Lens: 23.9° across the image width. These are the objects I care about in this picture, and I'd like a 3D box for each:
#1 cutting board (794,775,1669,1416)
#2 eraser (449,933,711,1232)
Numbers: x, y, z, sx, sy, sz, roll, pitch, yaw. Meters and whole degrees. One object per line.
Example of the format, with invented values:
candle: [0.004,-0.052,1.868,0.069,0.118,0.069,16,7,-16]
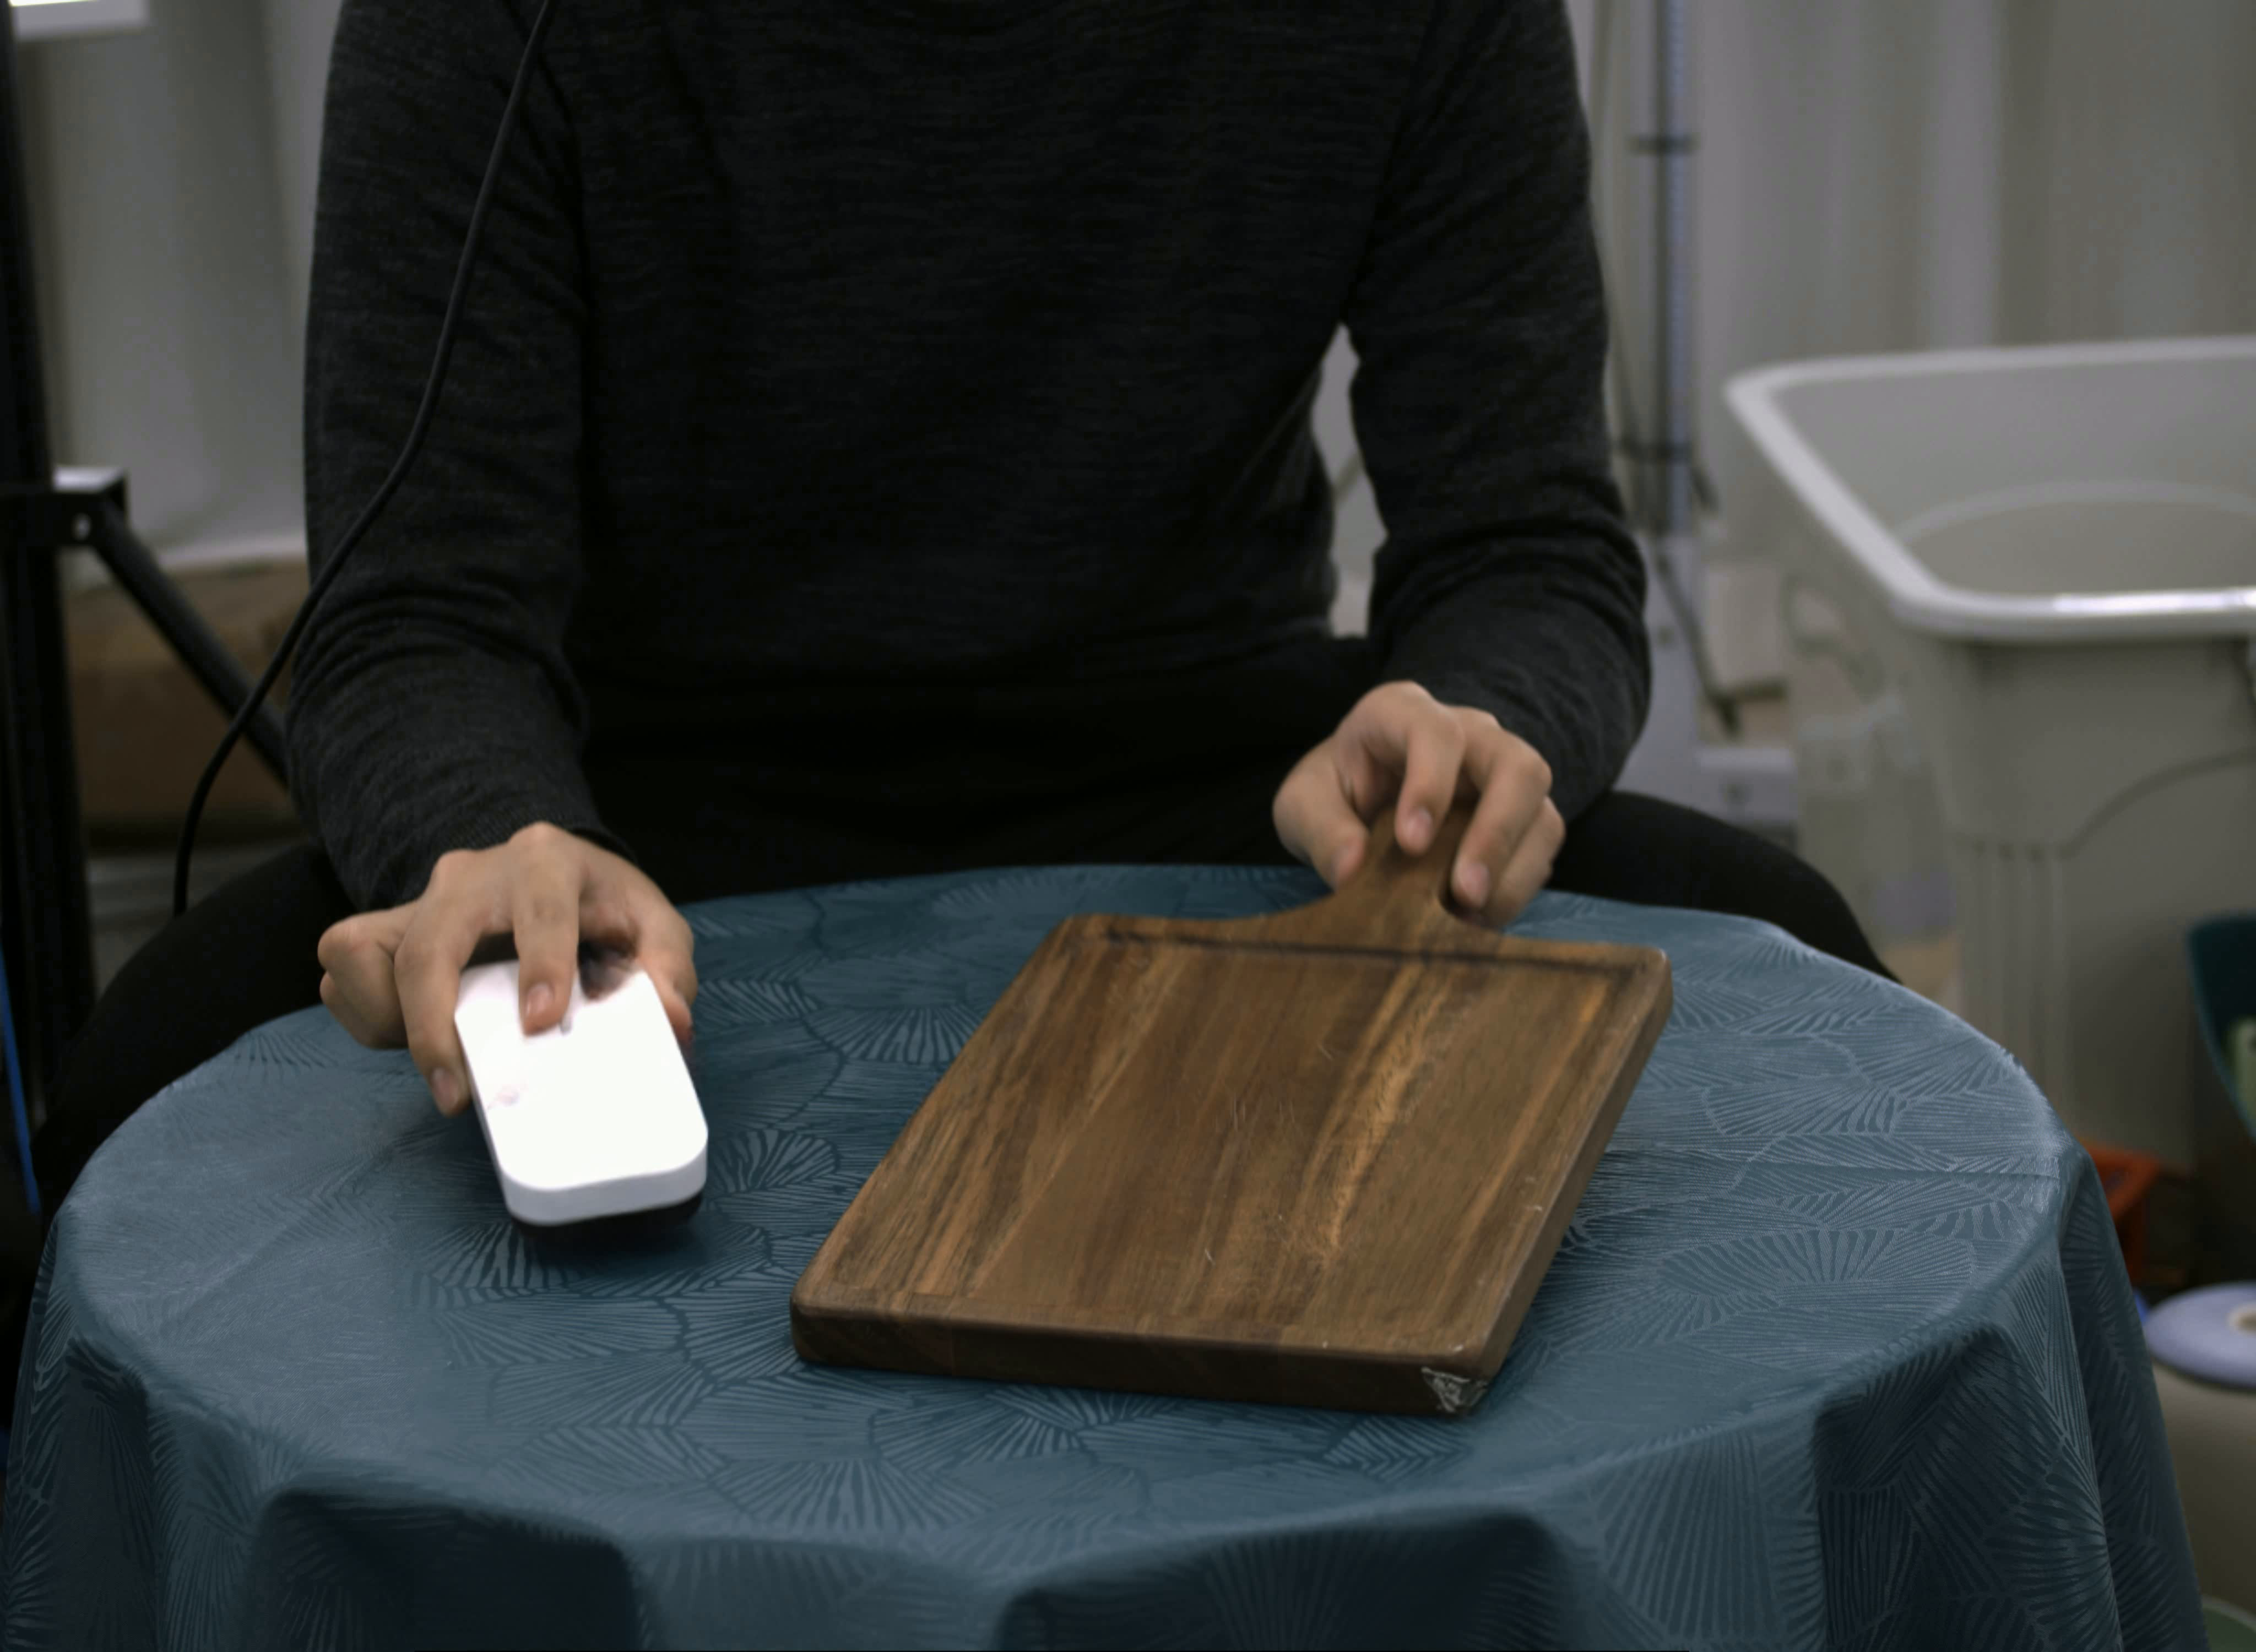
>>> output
cutting board: [0.049,0.068,1.550,0.203,0.023,0.350,2,26,18]
eraser: [-0.160,0.071,1.568,0.062,0.034,0.133,-9,30,-11]
